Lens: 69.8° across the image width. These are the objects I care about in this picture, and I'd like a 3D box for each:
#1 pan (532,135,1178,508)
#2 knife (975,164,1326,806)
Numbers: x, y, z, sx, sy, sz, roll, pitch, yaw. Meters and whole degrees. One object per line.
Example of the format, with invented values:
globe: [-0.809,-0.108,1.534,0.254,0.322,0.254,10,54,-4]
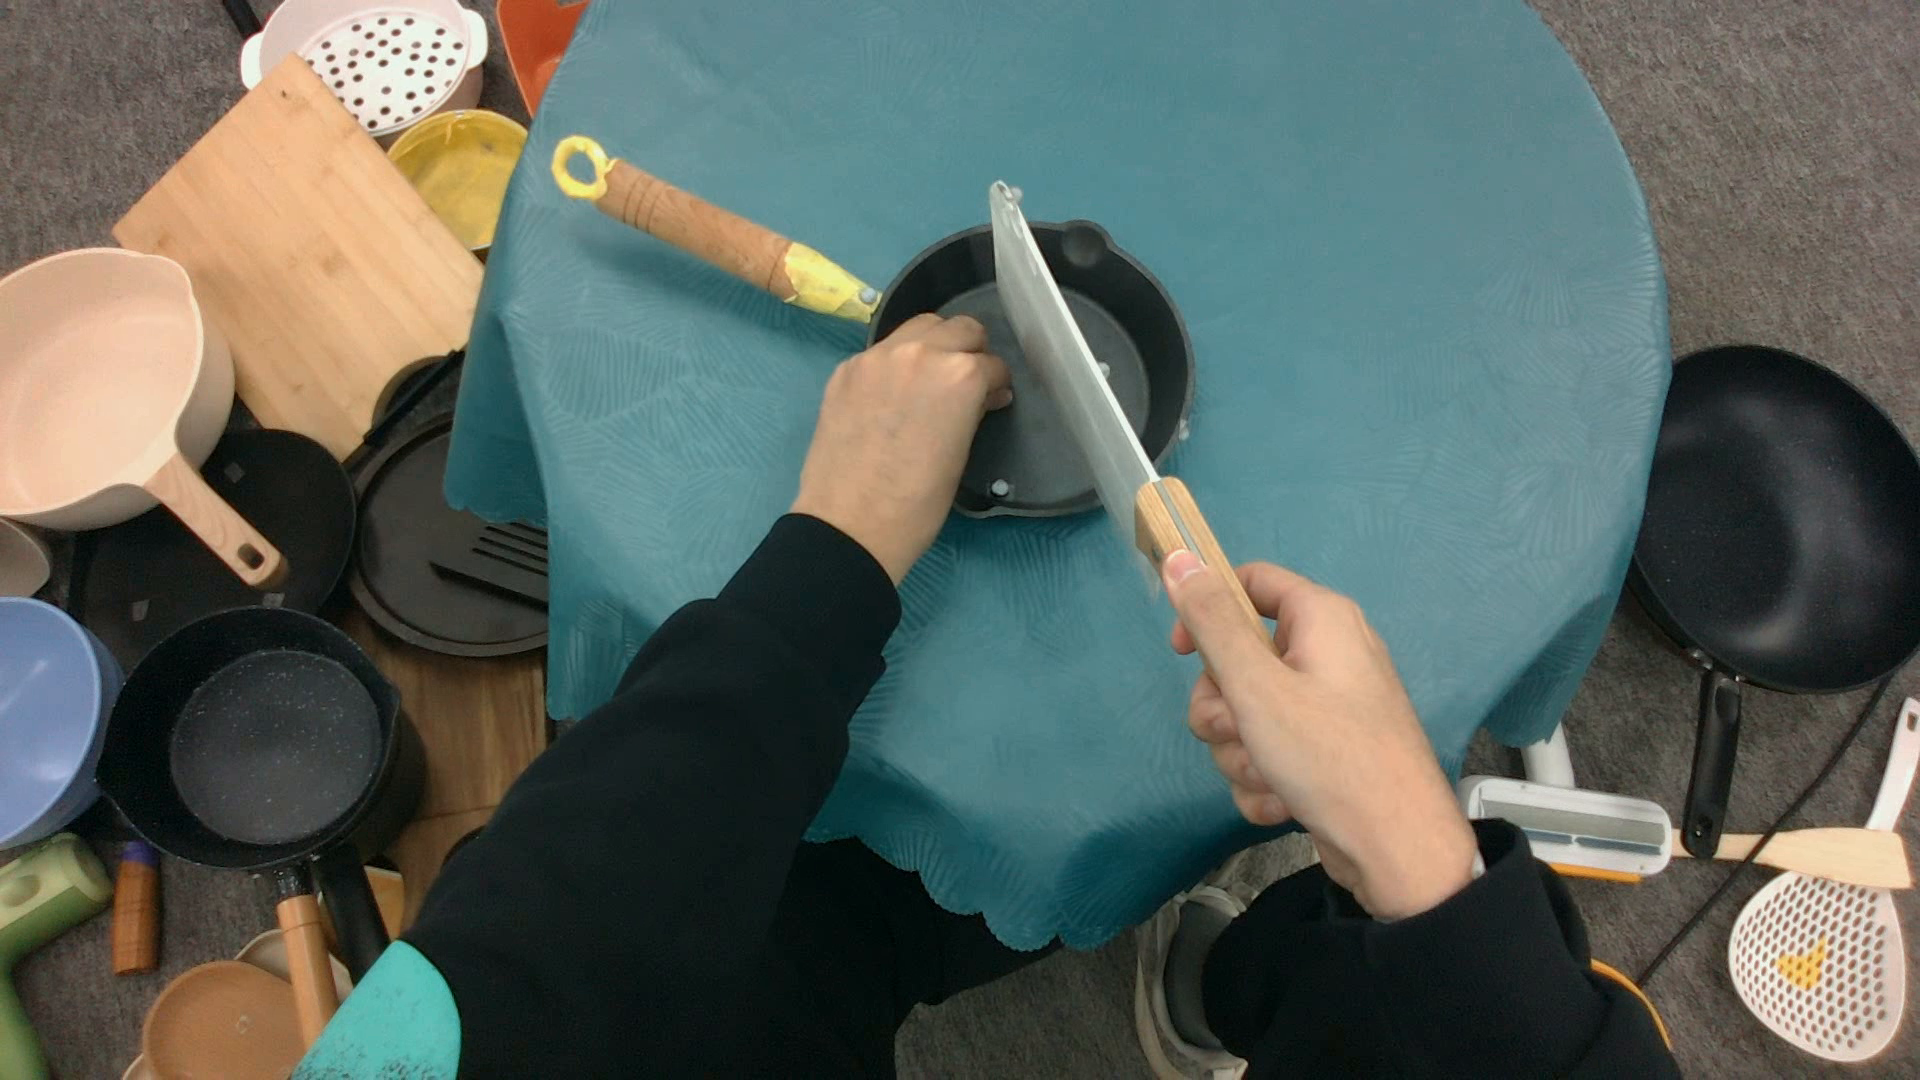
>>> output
pan: [-0.053,-0.120,0.662,0.324,0.049,0.169,23,71,3]
knife: [0.062,-0.032,0.560,0.022,0.113,0.316,-20,56,-7]
